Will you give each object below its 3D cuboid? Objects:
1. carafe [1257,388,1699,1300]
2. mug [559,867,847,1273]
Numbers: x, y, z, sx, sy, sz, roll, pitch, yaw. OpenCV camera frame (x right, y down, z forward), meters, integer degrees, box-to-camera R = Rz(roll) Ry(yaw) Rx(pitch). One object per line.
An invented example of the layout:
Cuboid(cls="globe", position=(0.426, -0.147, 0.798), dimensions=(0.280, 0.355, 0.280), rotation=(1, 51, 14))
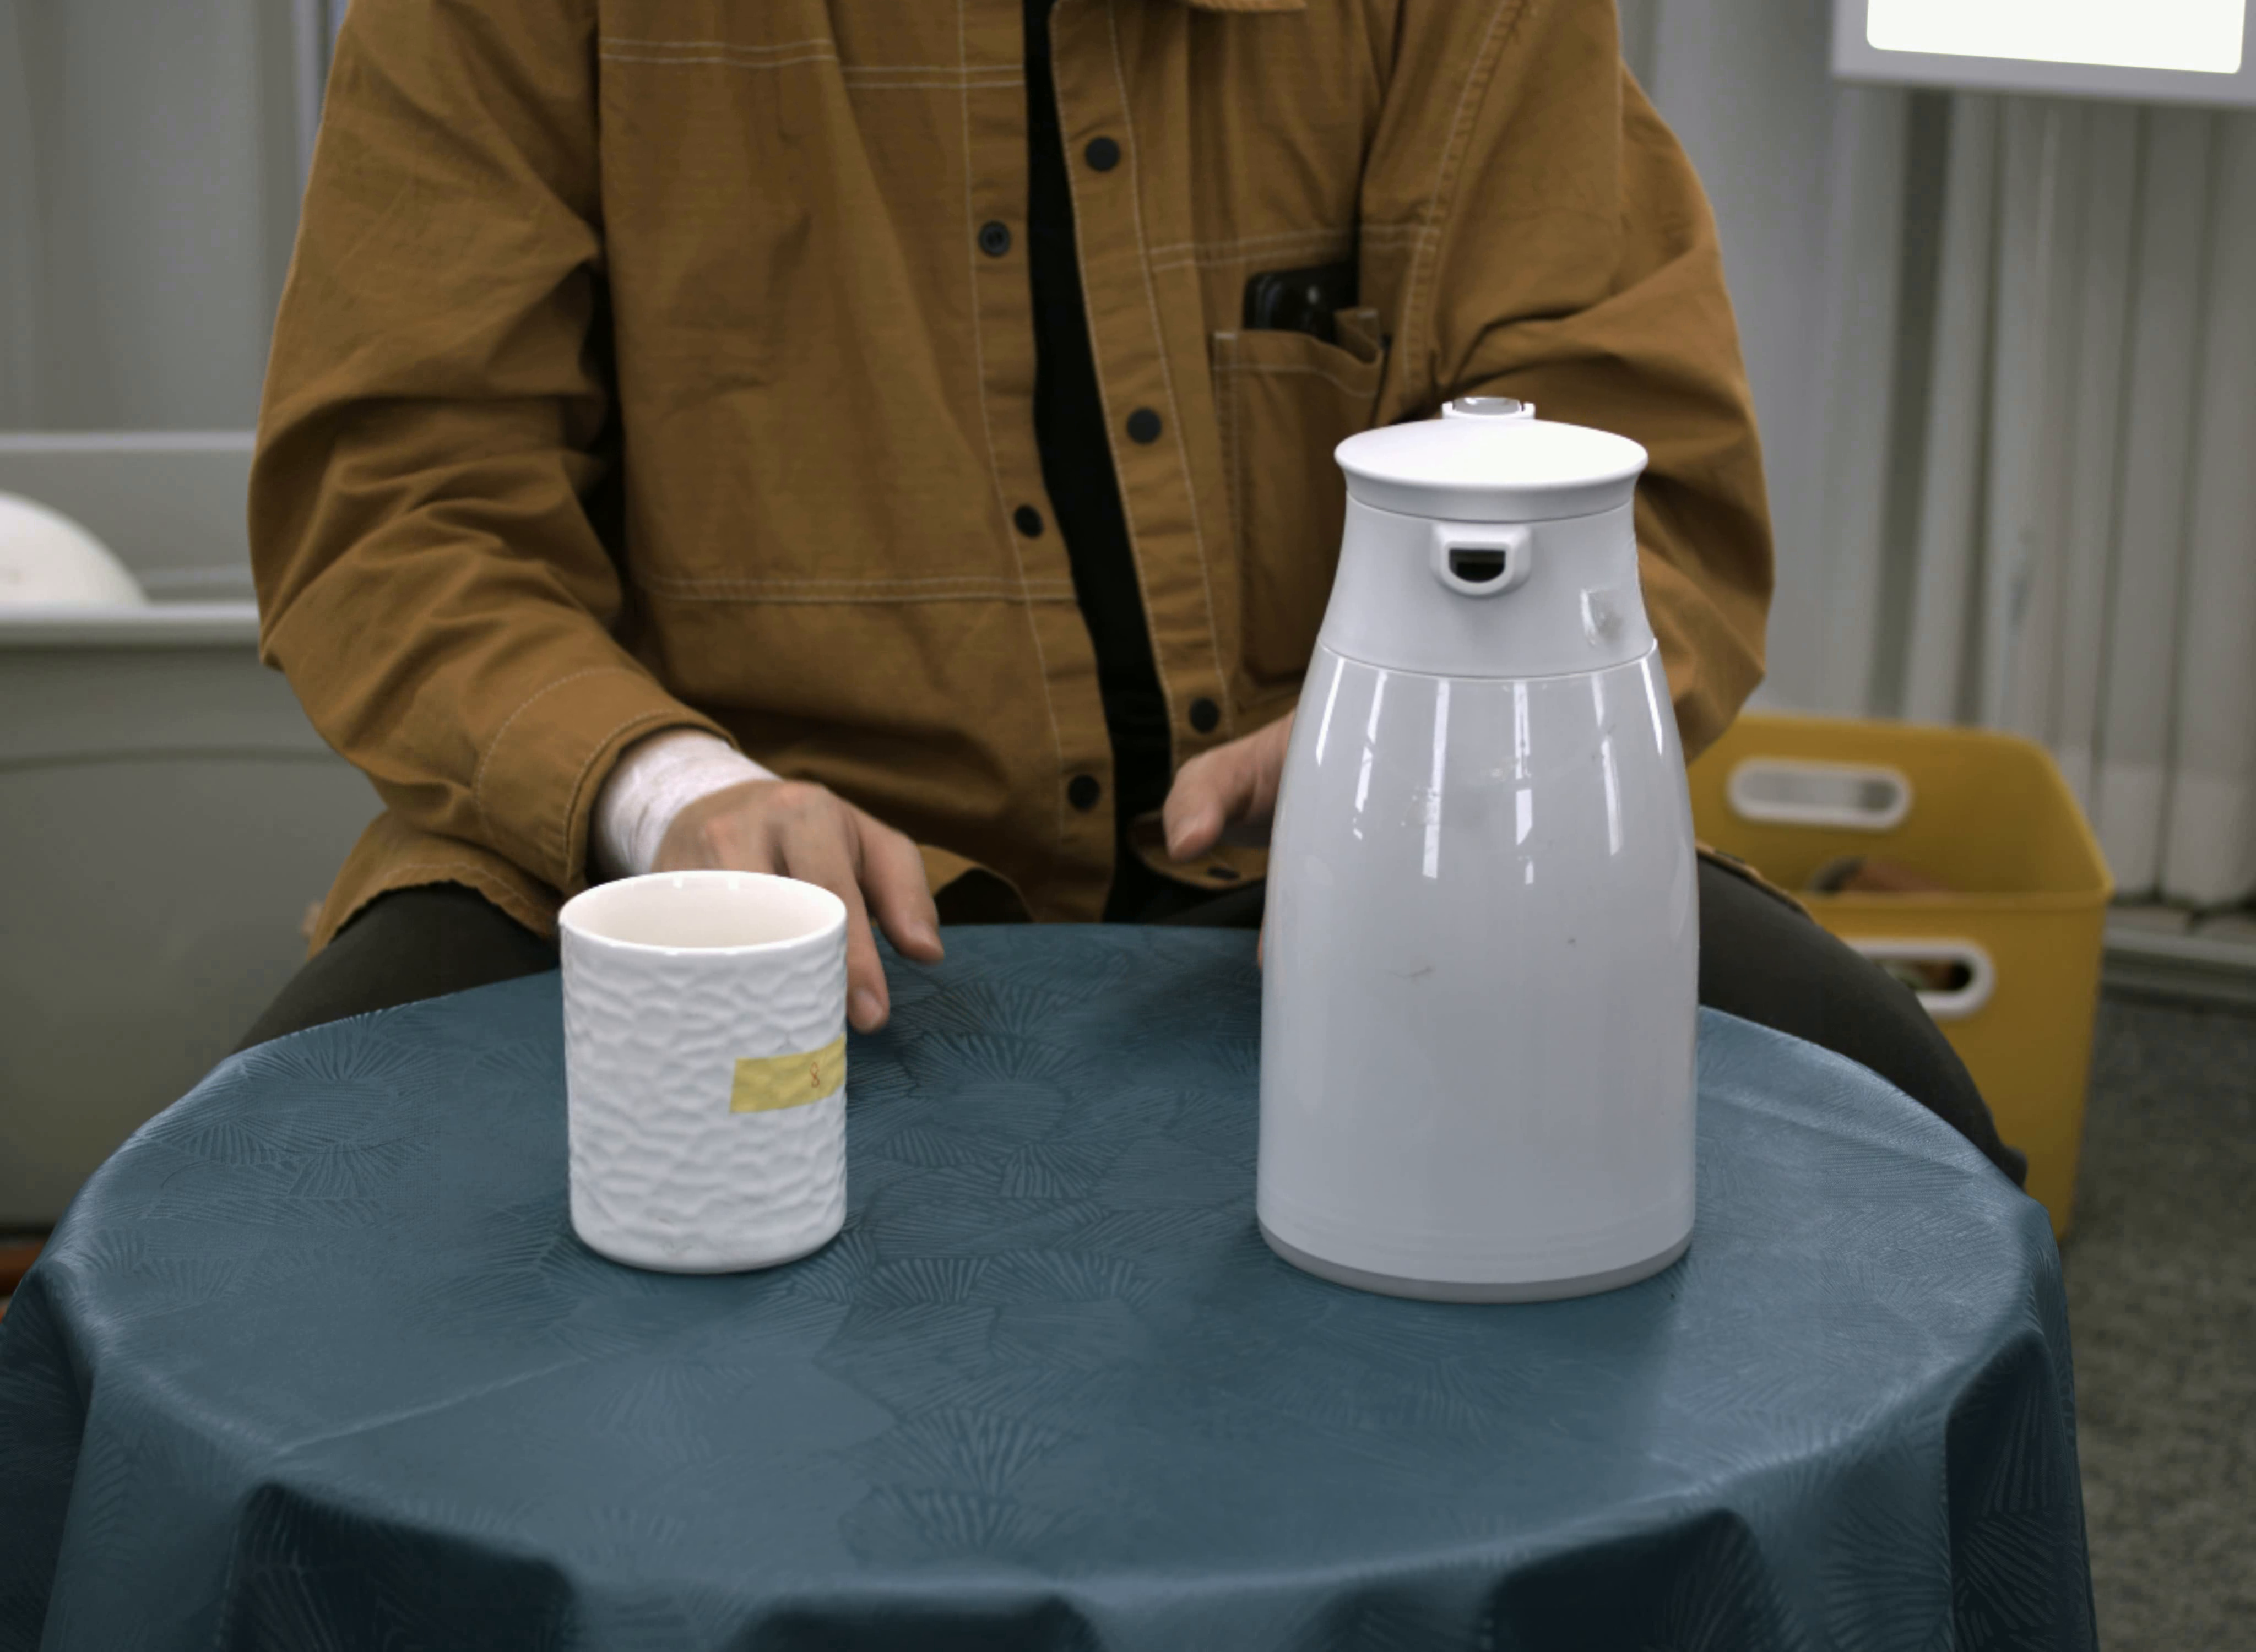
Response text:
Cuboid(cls="carafe", position=(0.105, -0.003, 1.575), dimensions=(0.132, 0.250, 0.167), rotation=(1, 16, 5))
Cuboid(cls="mug", position=(-0.133, 0.069, 1.583), dimensions=(0.085, 0.103, 0.117), rotation=(-8, 18, -26))
